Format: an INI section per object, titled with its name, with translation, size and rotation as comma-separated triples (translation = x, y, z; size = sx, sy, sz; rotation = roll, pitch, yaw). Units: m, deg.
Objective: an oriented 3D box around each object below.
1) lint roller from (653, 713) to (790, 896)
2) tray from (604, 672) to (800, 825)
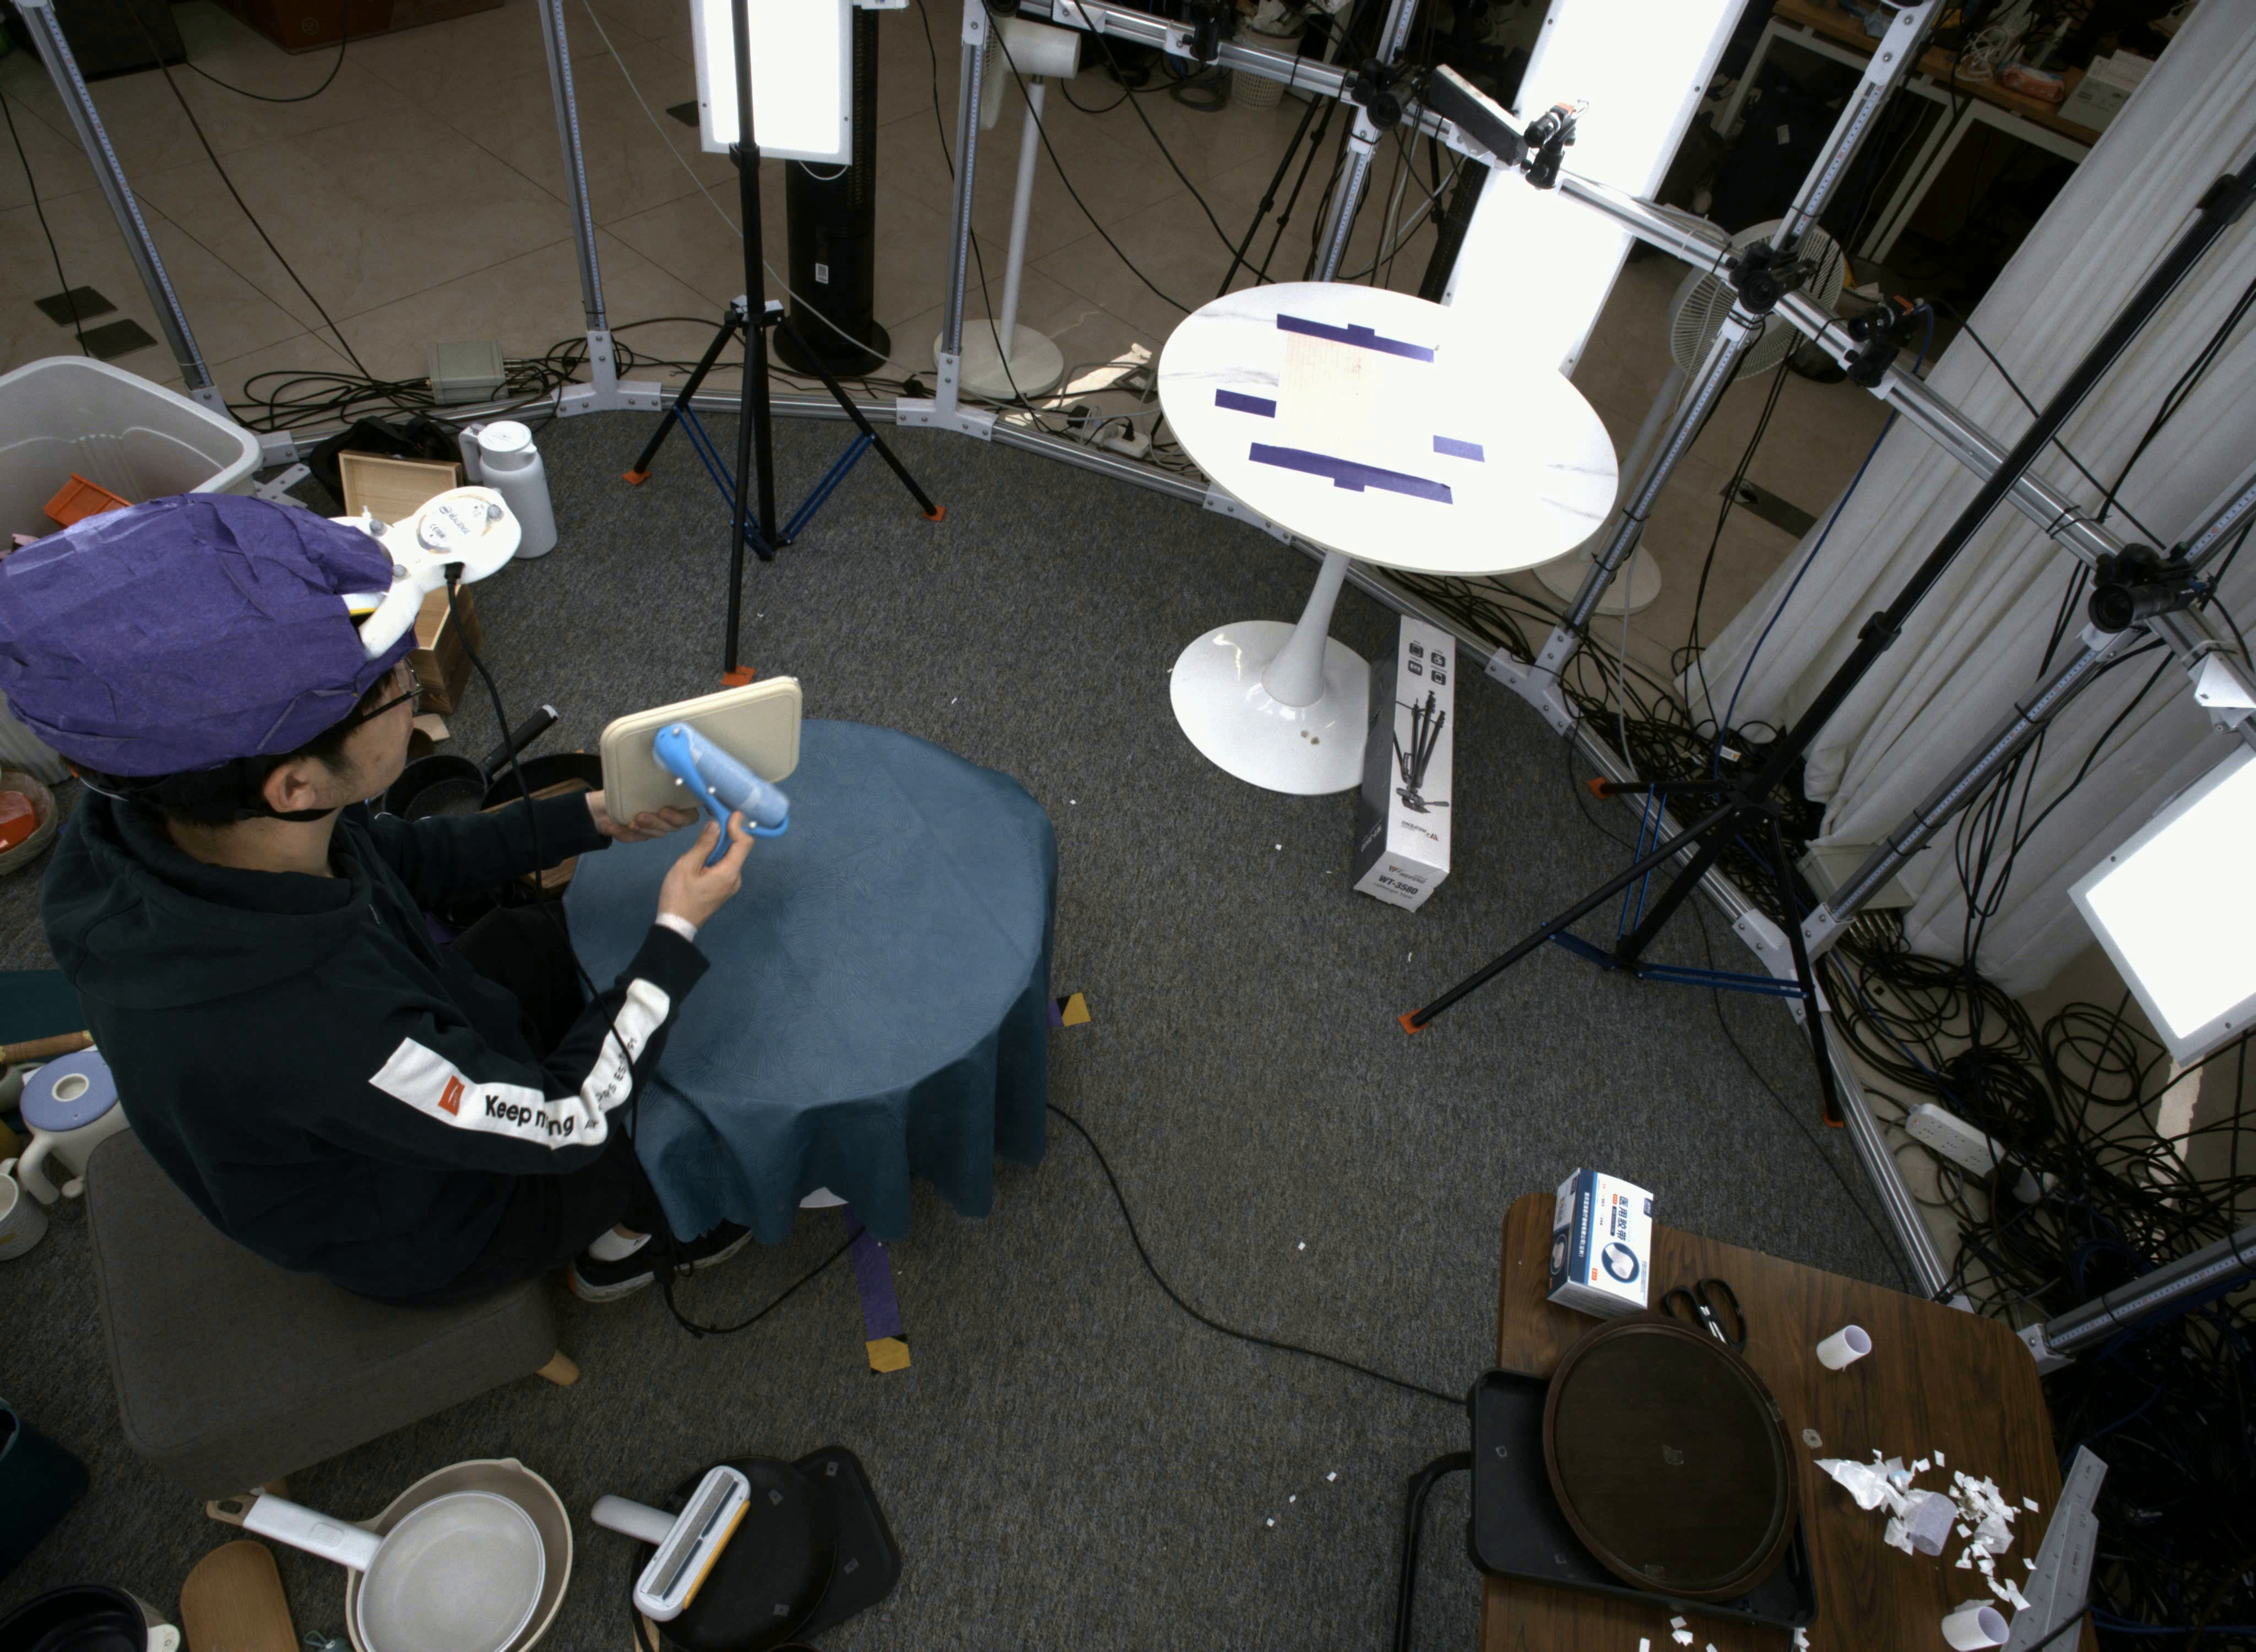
[lint roller]
translation = -0.474, -0.008, 1.470
size = 0.066, 0.235, 0.180
rotation = 3, 73, 20
[tray]
translation = -0.490, -0.088, 1.494
size = 0.241, 0.175, 0.017
rotation = -20, 55, -32
